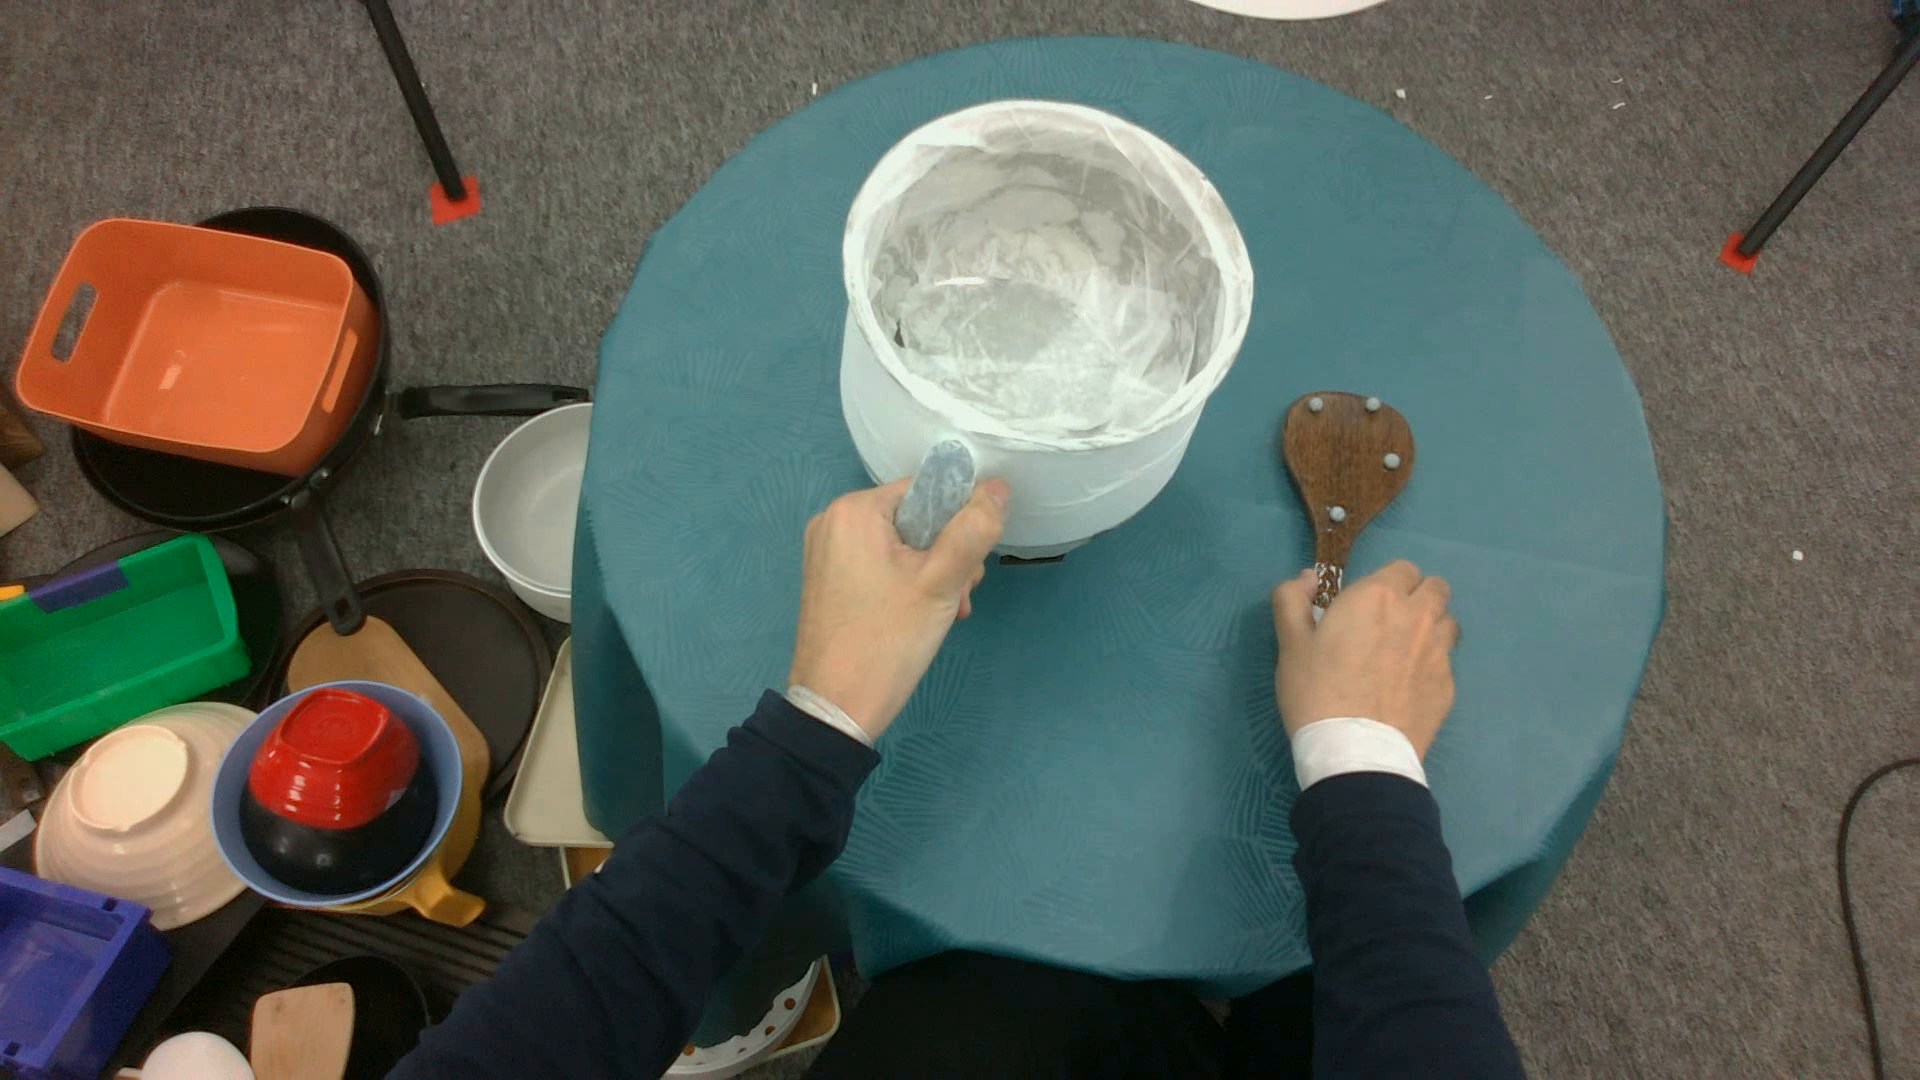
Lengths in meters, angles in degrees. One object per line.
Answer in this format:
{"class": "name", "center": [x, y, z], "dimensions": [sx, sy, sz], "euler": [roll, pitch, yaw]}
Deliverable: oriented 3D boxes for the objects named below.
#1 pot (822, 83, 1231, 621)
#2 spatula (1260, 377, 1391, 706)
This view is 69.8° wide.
{"class": "pot", "center": [0.014, -0.079, 0.635], "dimensions": [0.178, 0.136, 0.234], "euler": [22, 64, 5]}
{"class": "spatula", "center": [0.186, -0.006, 0.735], "dimensions": [0.072, 0.009, 0.217], "euler": [13, 58, 8]}
